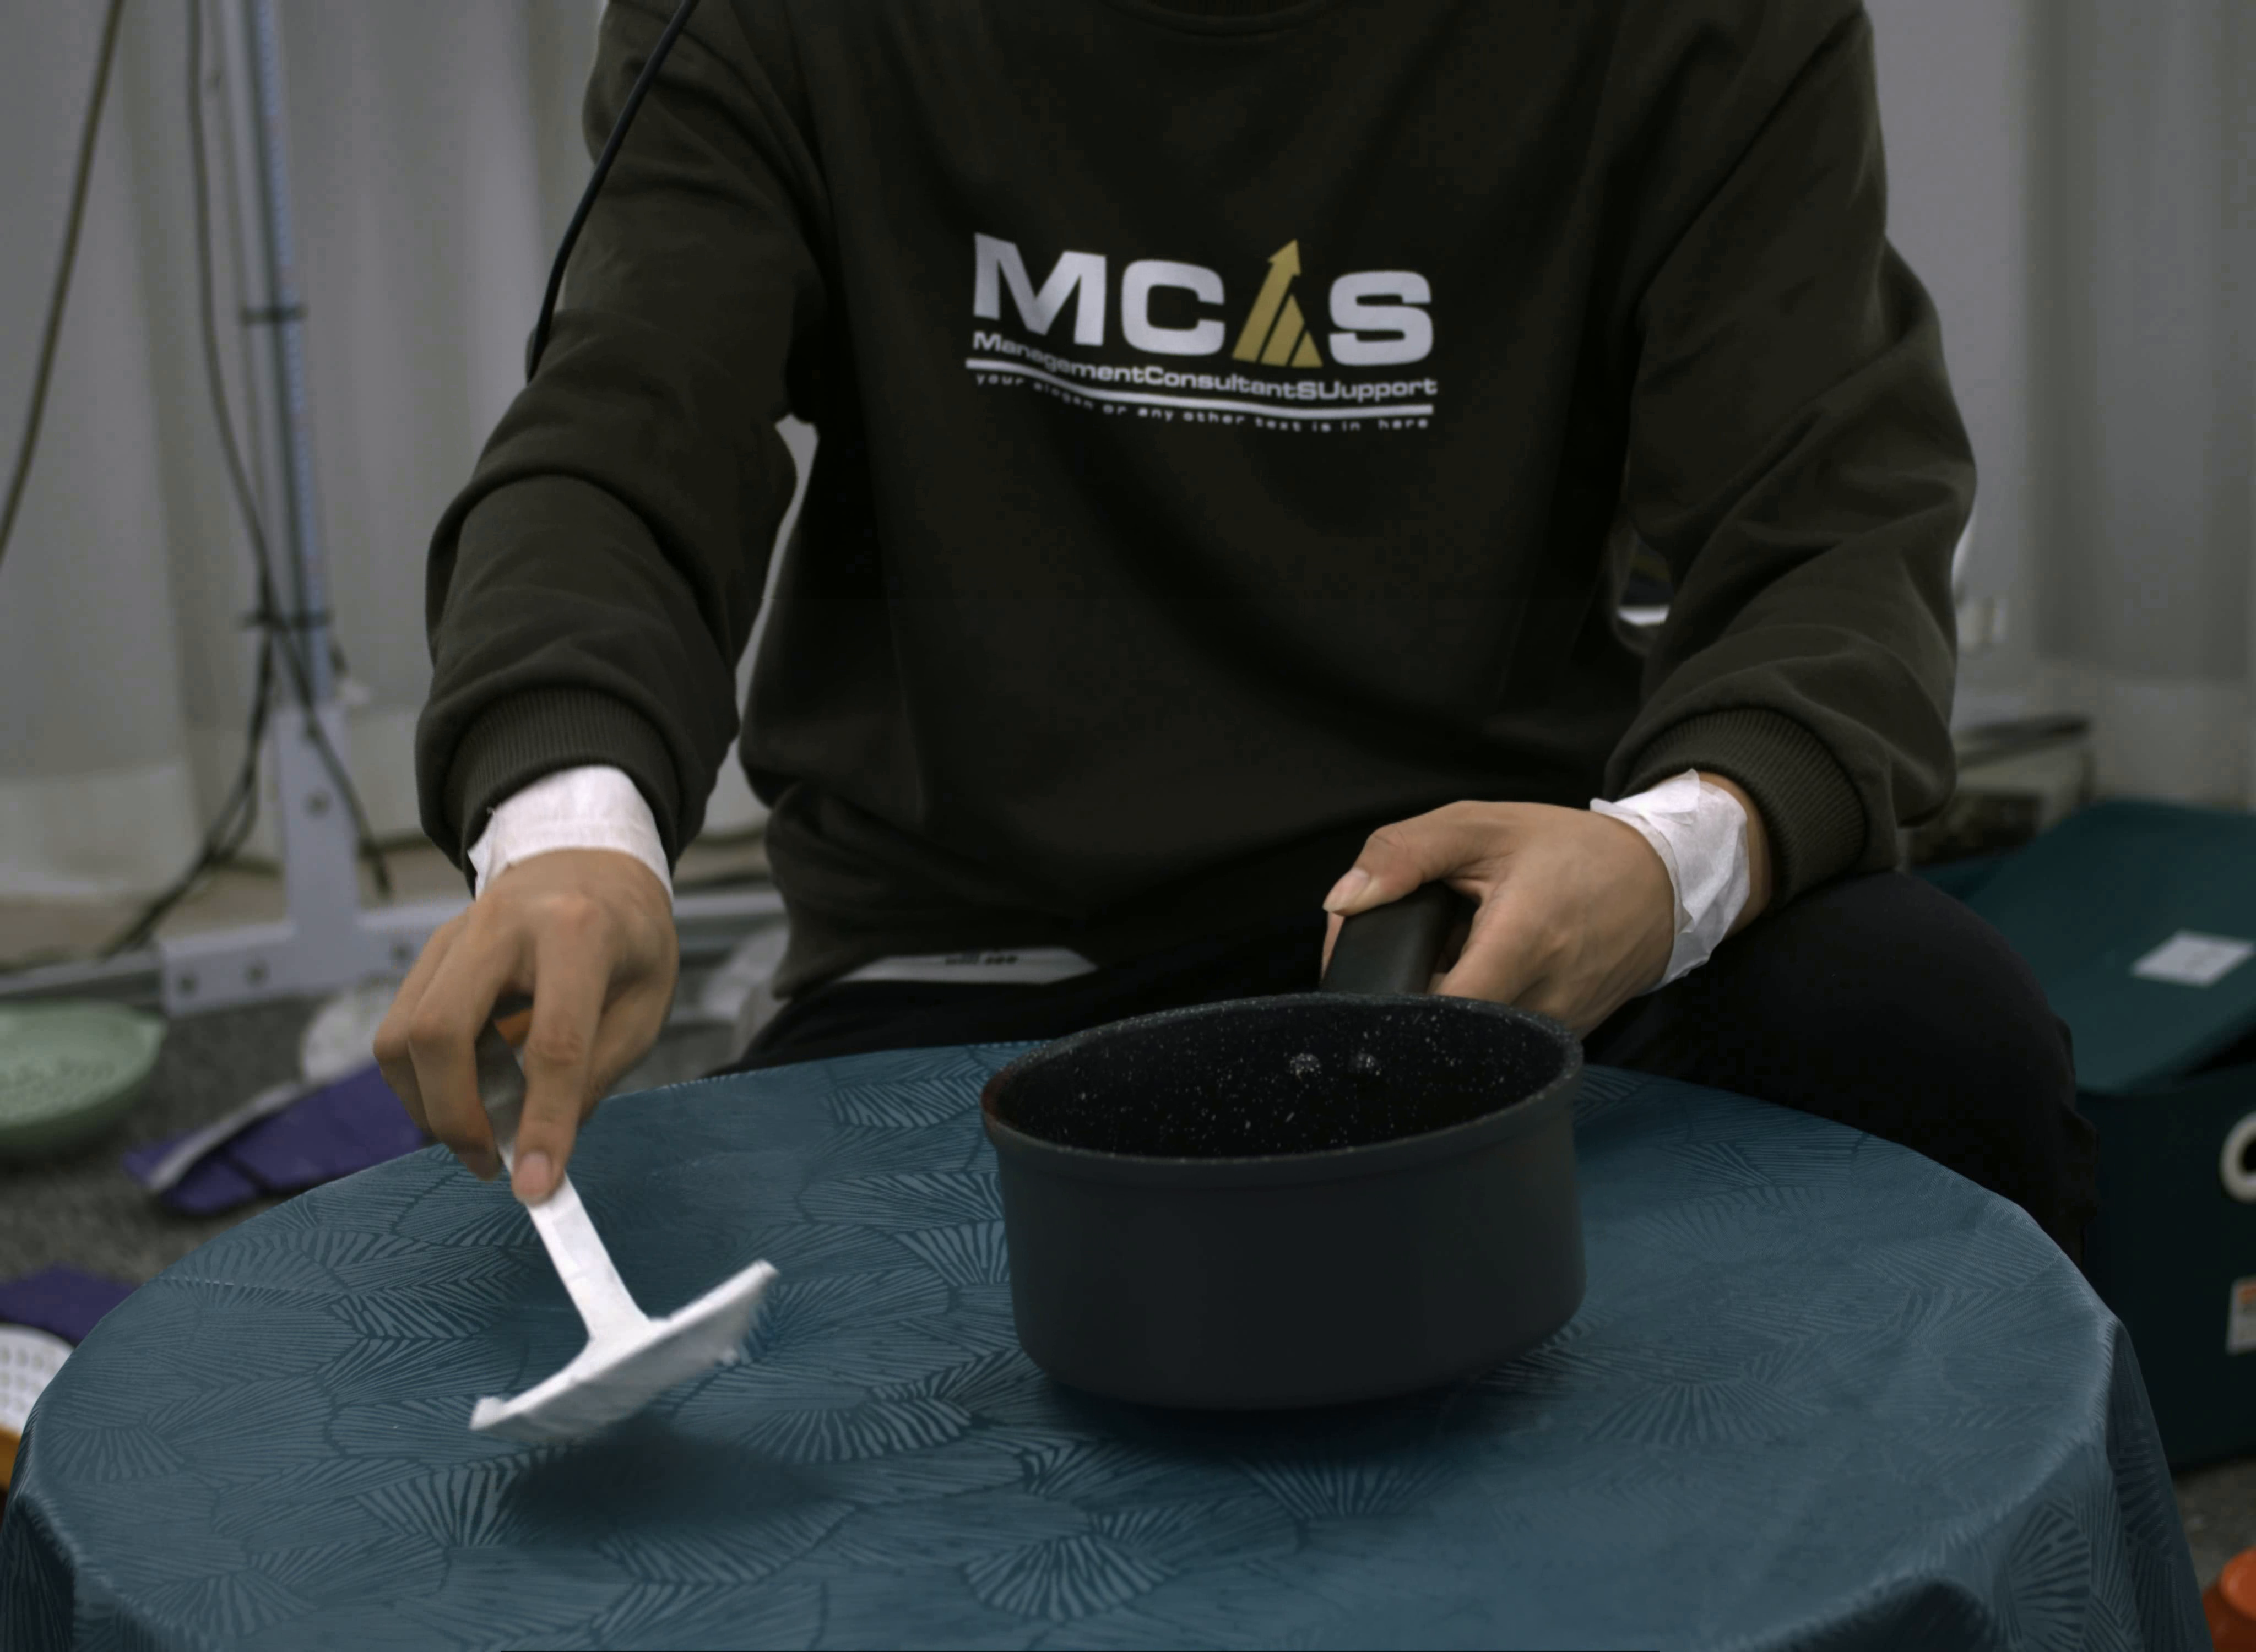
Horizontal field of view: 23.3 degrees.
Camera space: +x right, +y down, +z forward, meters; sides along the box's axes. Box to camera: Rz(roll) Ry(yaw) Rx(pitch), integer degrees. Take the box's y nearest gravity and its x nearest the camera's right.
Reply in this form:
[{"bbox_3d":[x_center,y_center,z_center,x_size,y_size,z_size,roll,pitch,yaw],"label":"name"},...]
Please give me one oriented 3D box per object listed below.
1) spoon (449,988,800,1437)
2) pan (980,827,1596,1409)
[{"bbox_3d":[-0.164,0.096,1.578,0.100,0.059,0.281,-22,33,-8],"label":"spoon"},{"bbox_3d":[0.067,0.083,1.615,0.172,0.086,0.330,-1,14,16],"label":"pan"}]
